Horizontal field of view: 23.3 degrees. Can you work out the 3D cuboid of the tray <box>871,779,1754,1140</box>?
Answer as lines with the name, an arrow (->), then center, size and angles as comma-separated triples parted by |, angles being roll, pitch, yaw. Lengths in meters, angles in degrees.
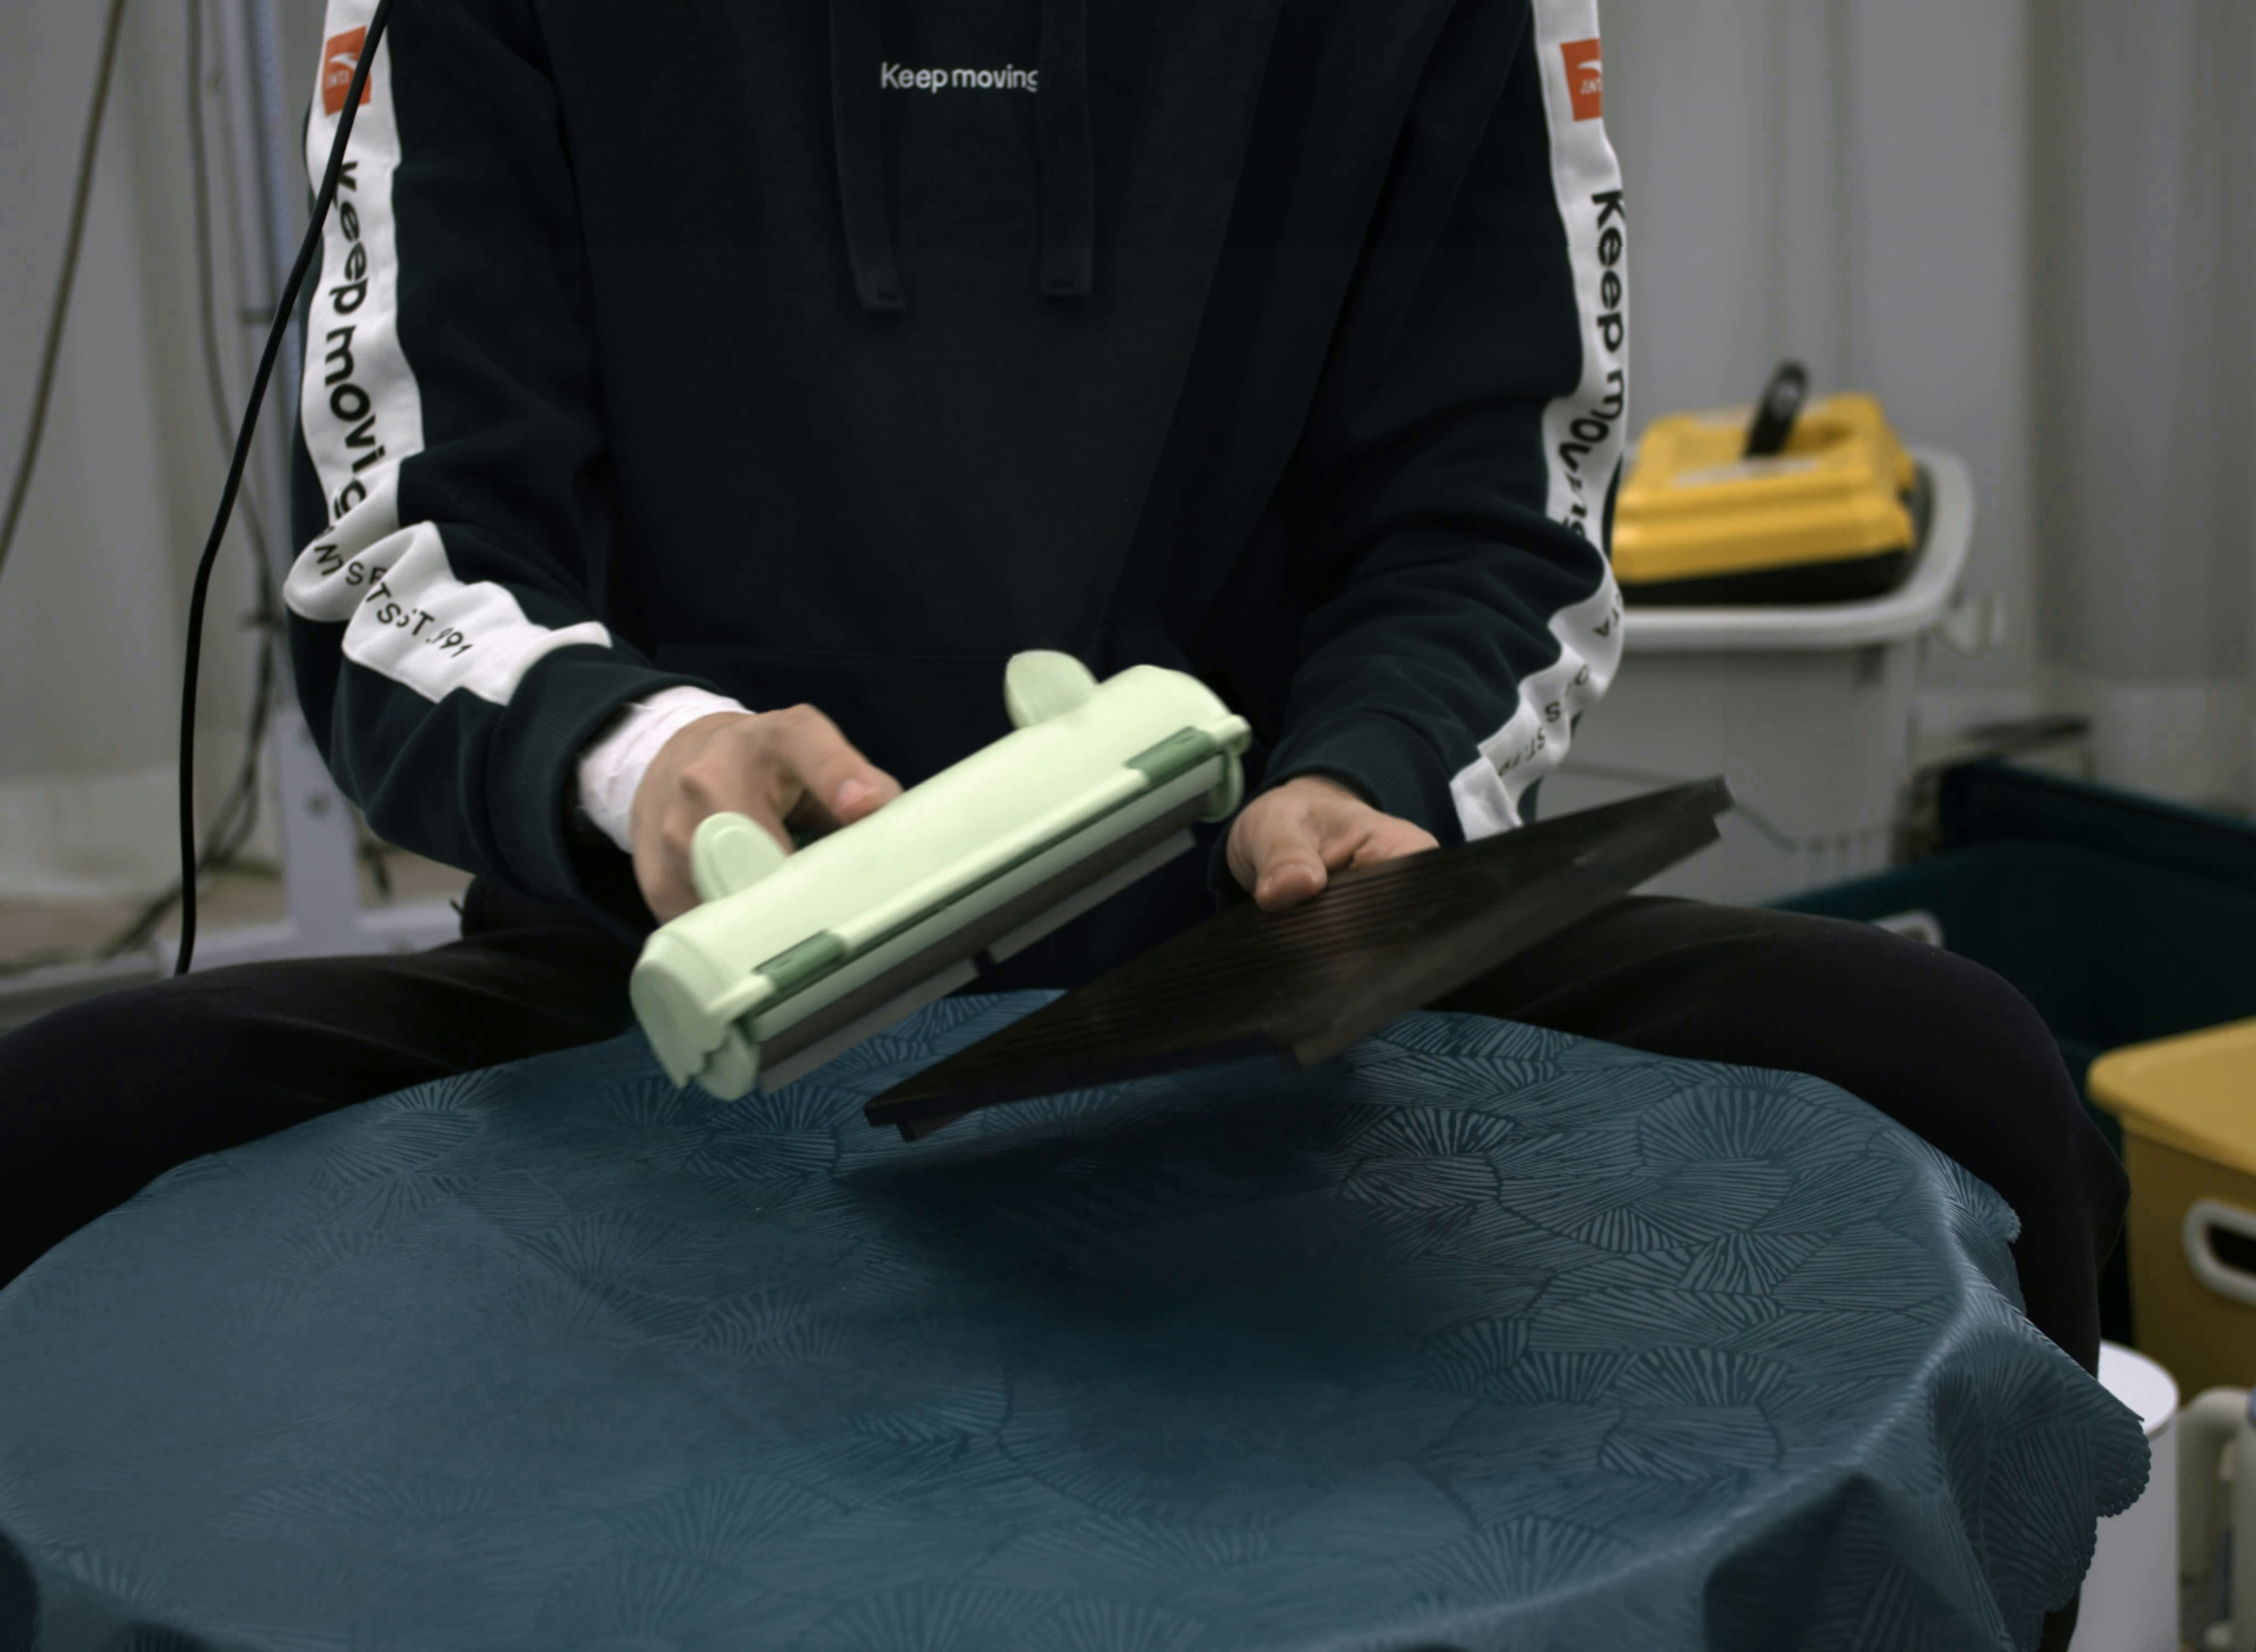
tray -> 0.050, 0.045, 1.646 | 0.170, 0.018, 0.306 | -27, 5, -26

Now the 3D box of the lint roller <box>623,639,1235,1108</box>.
lint roller -> -0.089, 0.003, 1.645 | 0.199, 0.081, 0.184 | -30, 22, -27
